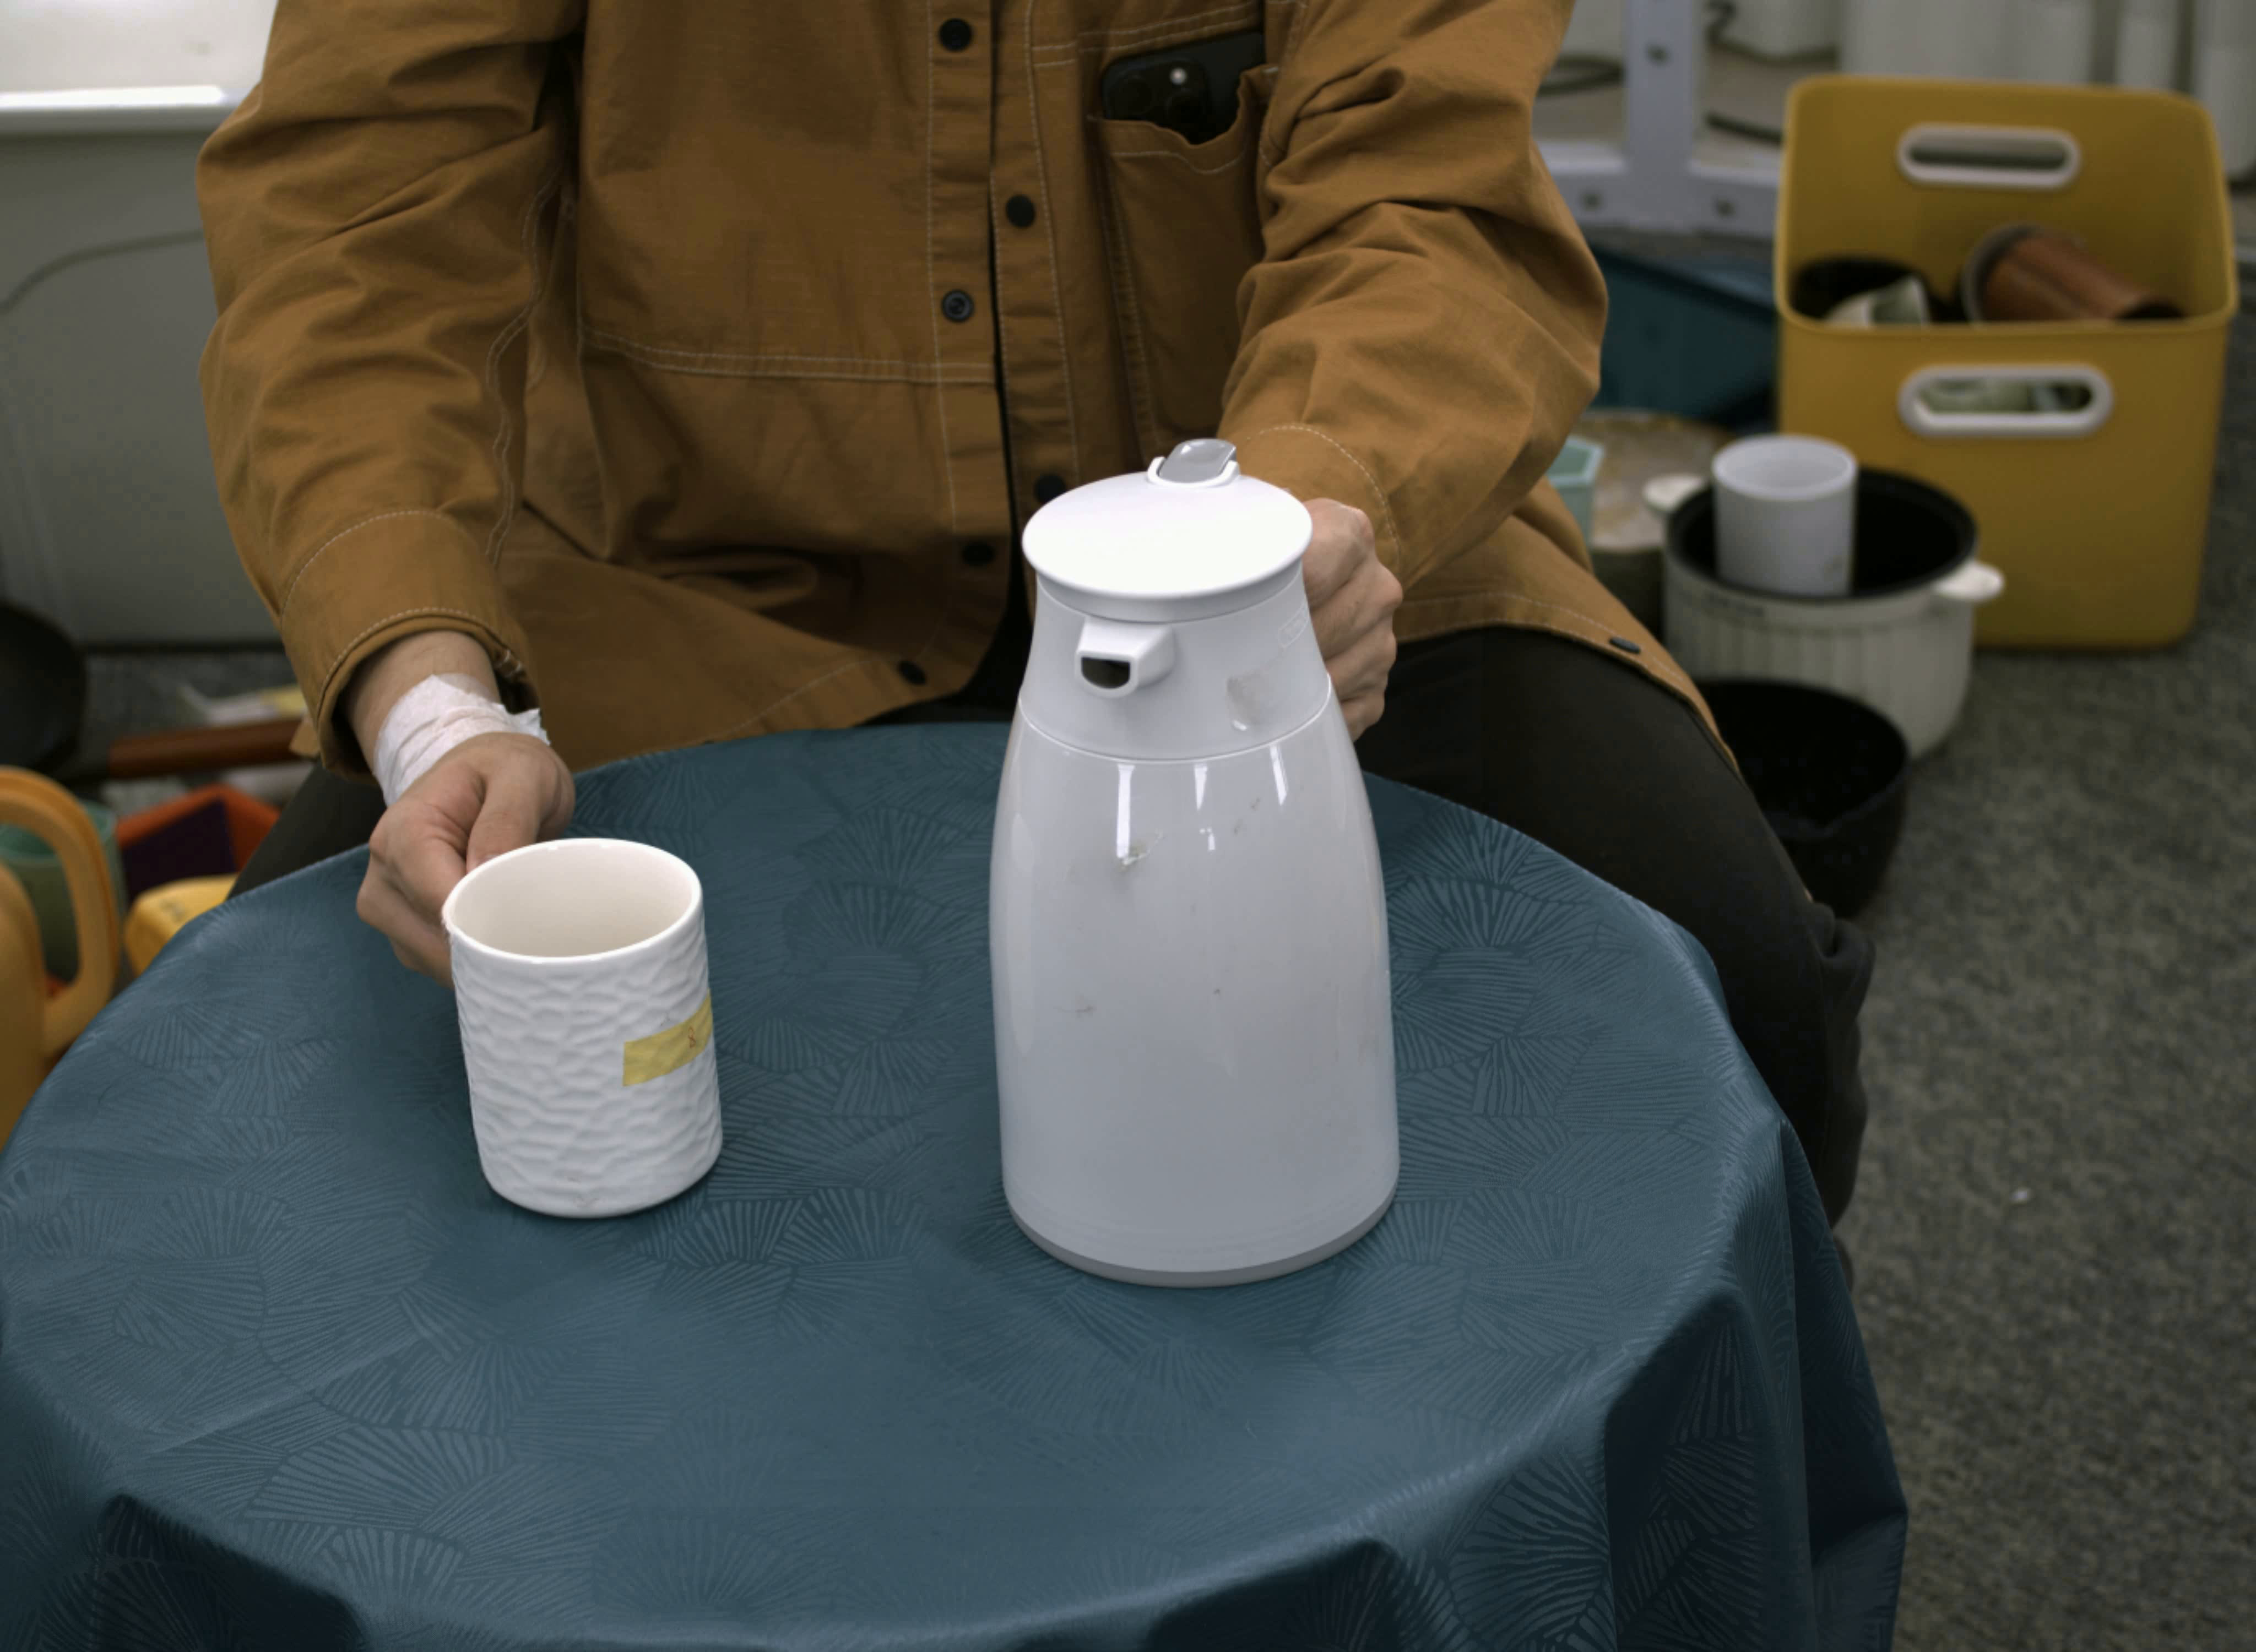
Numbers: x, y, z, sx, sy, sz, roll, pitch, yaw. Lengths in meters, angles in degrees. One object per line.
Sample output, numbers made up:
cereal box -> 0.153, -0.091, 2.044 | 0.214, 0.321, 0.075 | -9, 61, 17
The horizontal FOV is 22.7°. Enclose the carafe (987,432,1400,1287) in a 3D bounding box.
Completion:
carafe -> 0.022, 0.000, 1.826 | 0.131, 0.246, 0.170 | 4, 27, 17

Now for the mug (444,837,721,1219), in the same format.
mug -> -0.189, 0.063, 1.882 | 0.085, 0.101, 0.118 | -19, 30, -30
